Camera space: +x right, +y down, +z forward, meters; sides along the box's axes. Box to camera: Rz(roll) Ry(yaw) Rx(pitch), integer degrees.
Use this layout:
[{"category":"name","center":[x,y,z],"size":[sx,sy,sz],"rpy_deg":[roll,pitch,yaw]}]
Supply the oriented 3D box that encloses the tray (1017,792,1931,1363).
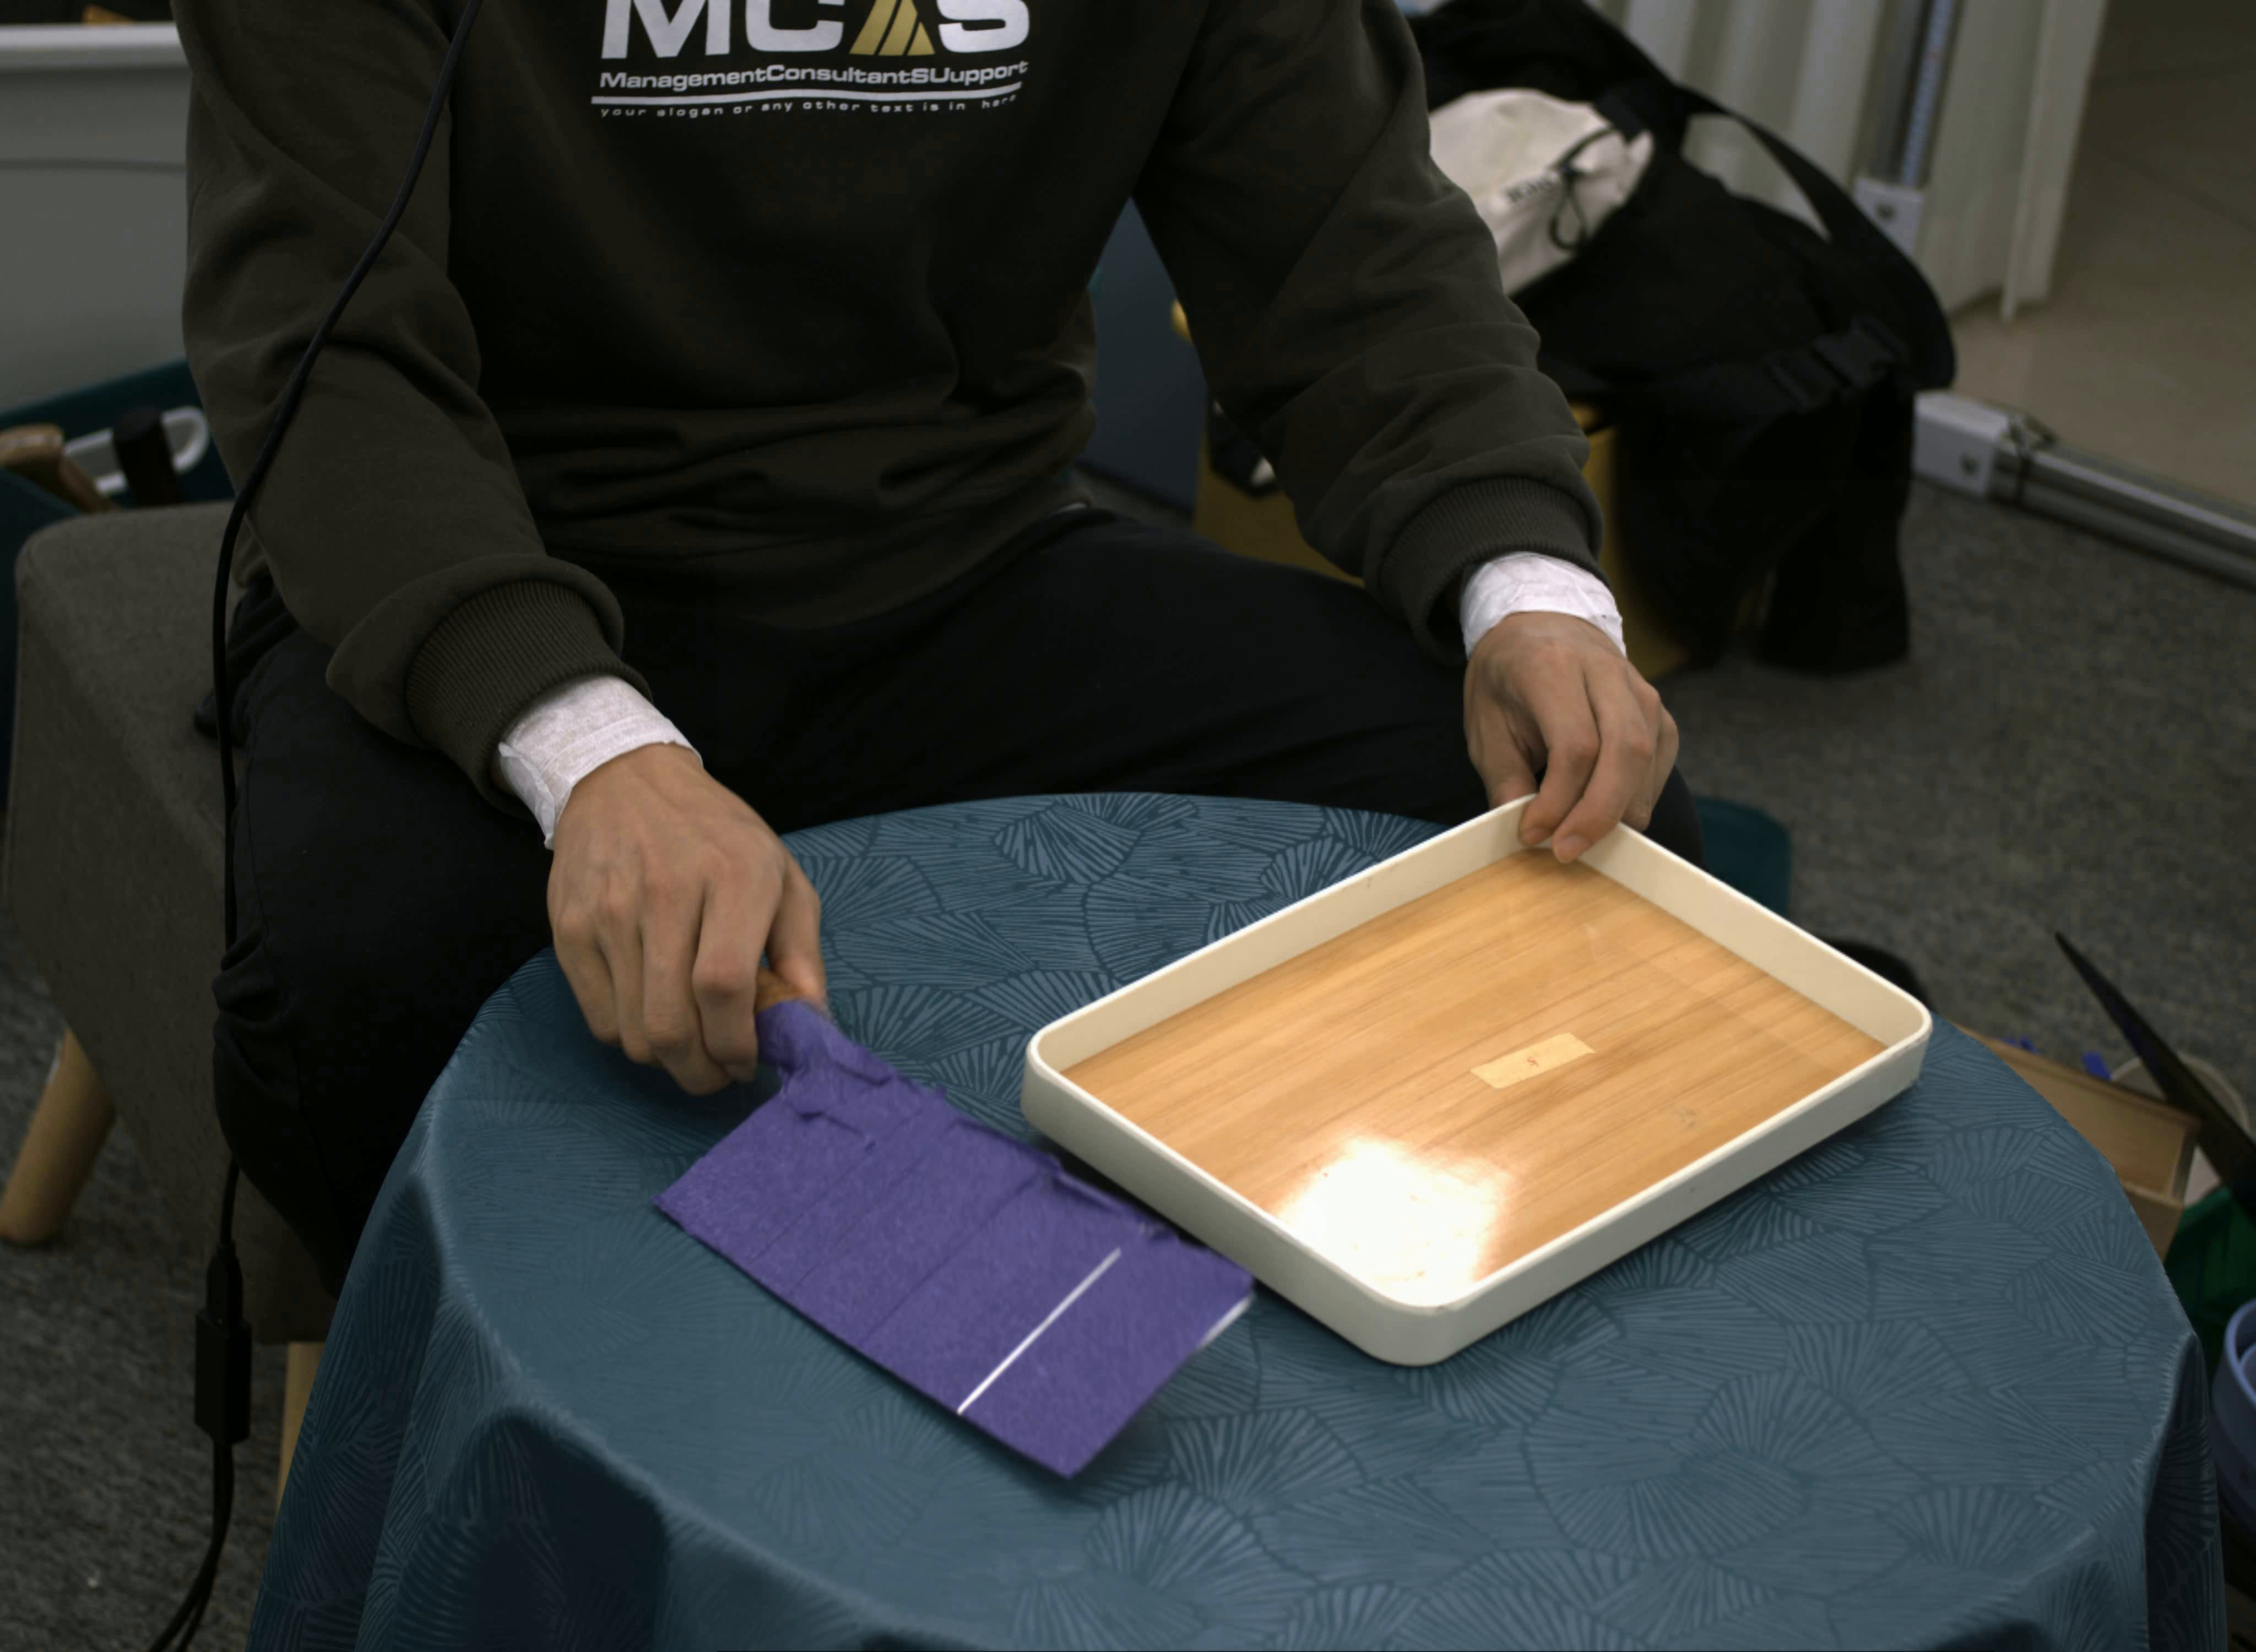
[{"category":"tray","center":[0.124,0.082,1.859],"size":[0.193,0.027,0.299],"rpy_deg":[32,38,32]}]

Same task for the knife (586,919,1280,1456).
[{"category":"knife","center":[-0.093,0.115,1.744],"size":[0.104,0.032,0.318],"rpy_deg":[-40,43,-25]}]
